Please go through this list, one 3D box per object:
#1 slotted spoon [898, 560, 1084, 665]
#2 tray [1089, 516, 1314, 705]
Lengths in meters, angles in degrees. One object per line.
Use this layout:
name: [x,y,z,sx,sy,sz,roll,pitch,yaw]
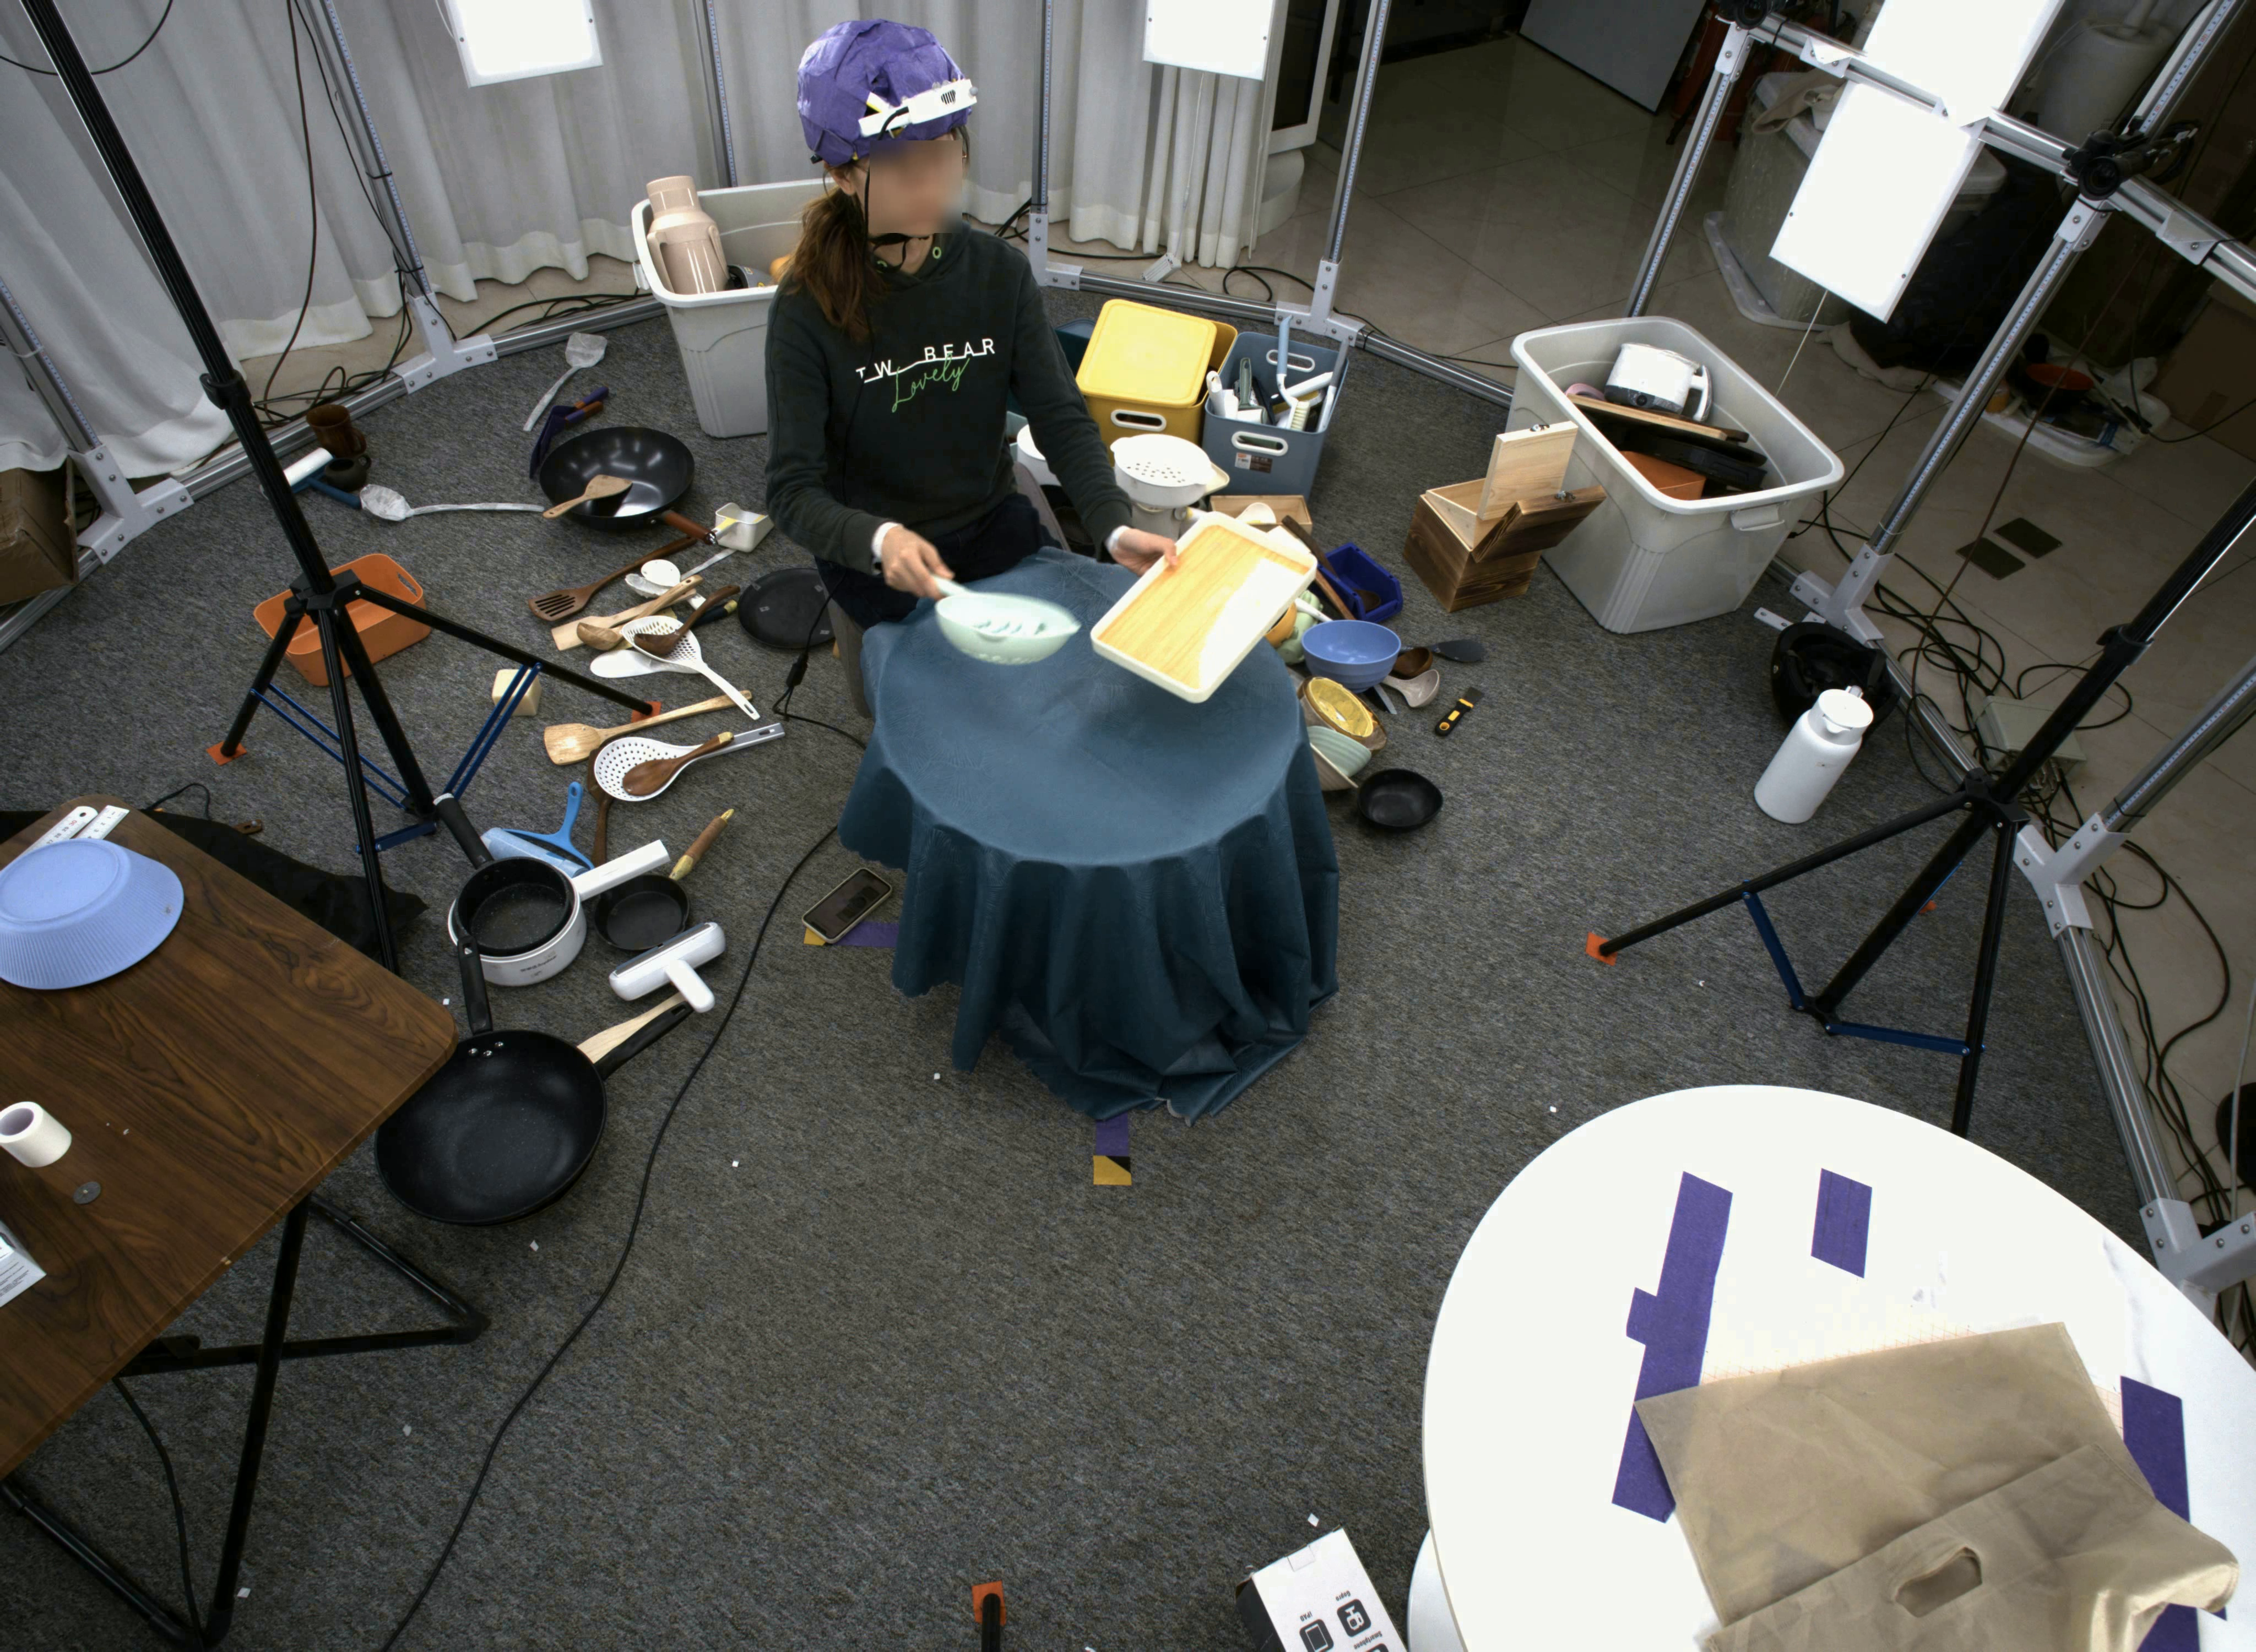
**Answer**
slotted spoon: [-0.205,-0.291,1.662,0.169,0.074,0.366,-12,39,-35]
tray: [0.105,-0.306,1.785,0.194,0.027,0.304,30,61,23]
